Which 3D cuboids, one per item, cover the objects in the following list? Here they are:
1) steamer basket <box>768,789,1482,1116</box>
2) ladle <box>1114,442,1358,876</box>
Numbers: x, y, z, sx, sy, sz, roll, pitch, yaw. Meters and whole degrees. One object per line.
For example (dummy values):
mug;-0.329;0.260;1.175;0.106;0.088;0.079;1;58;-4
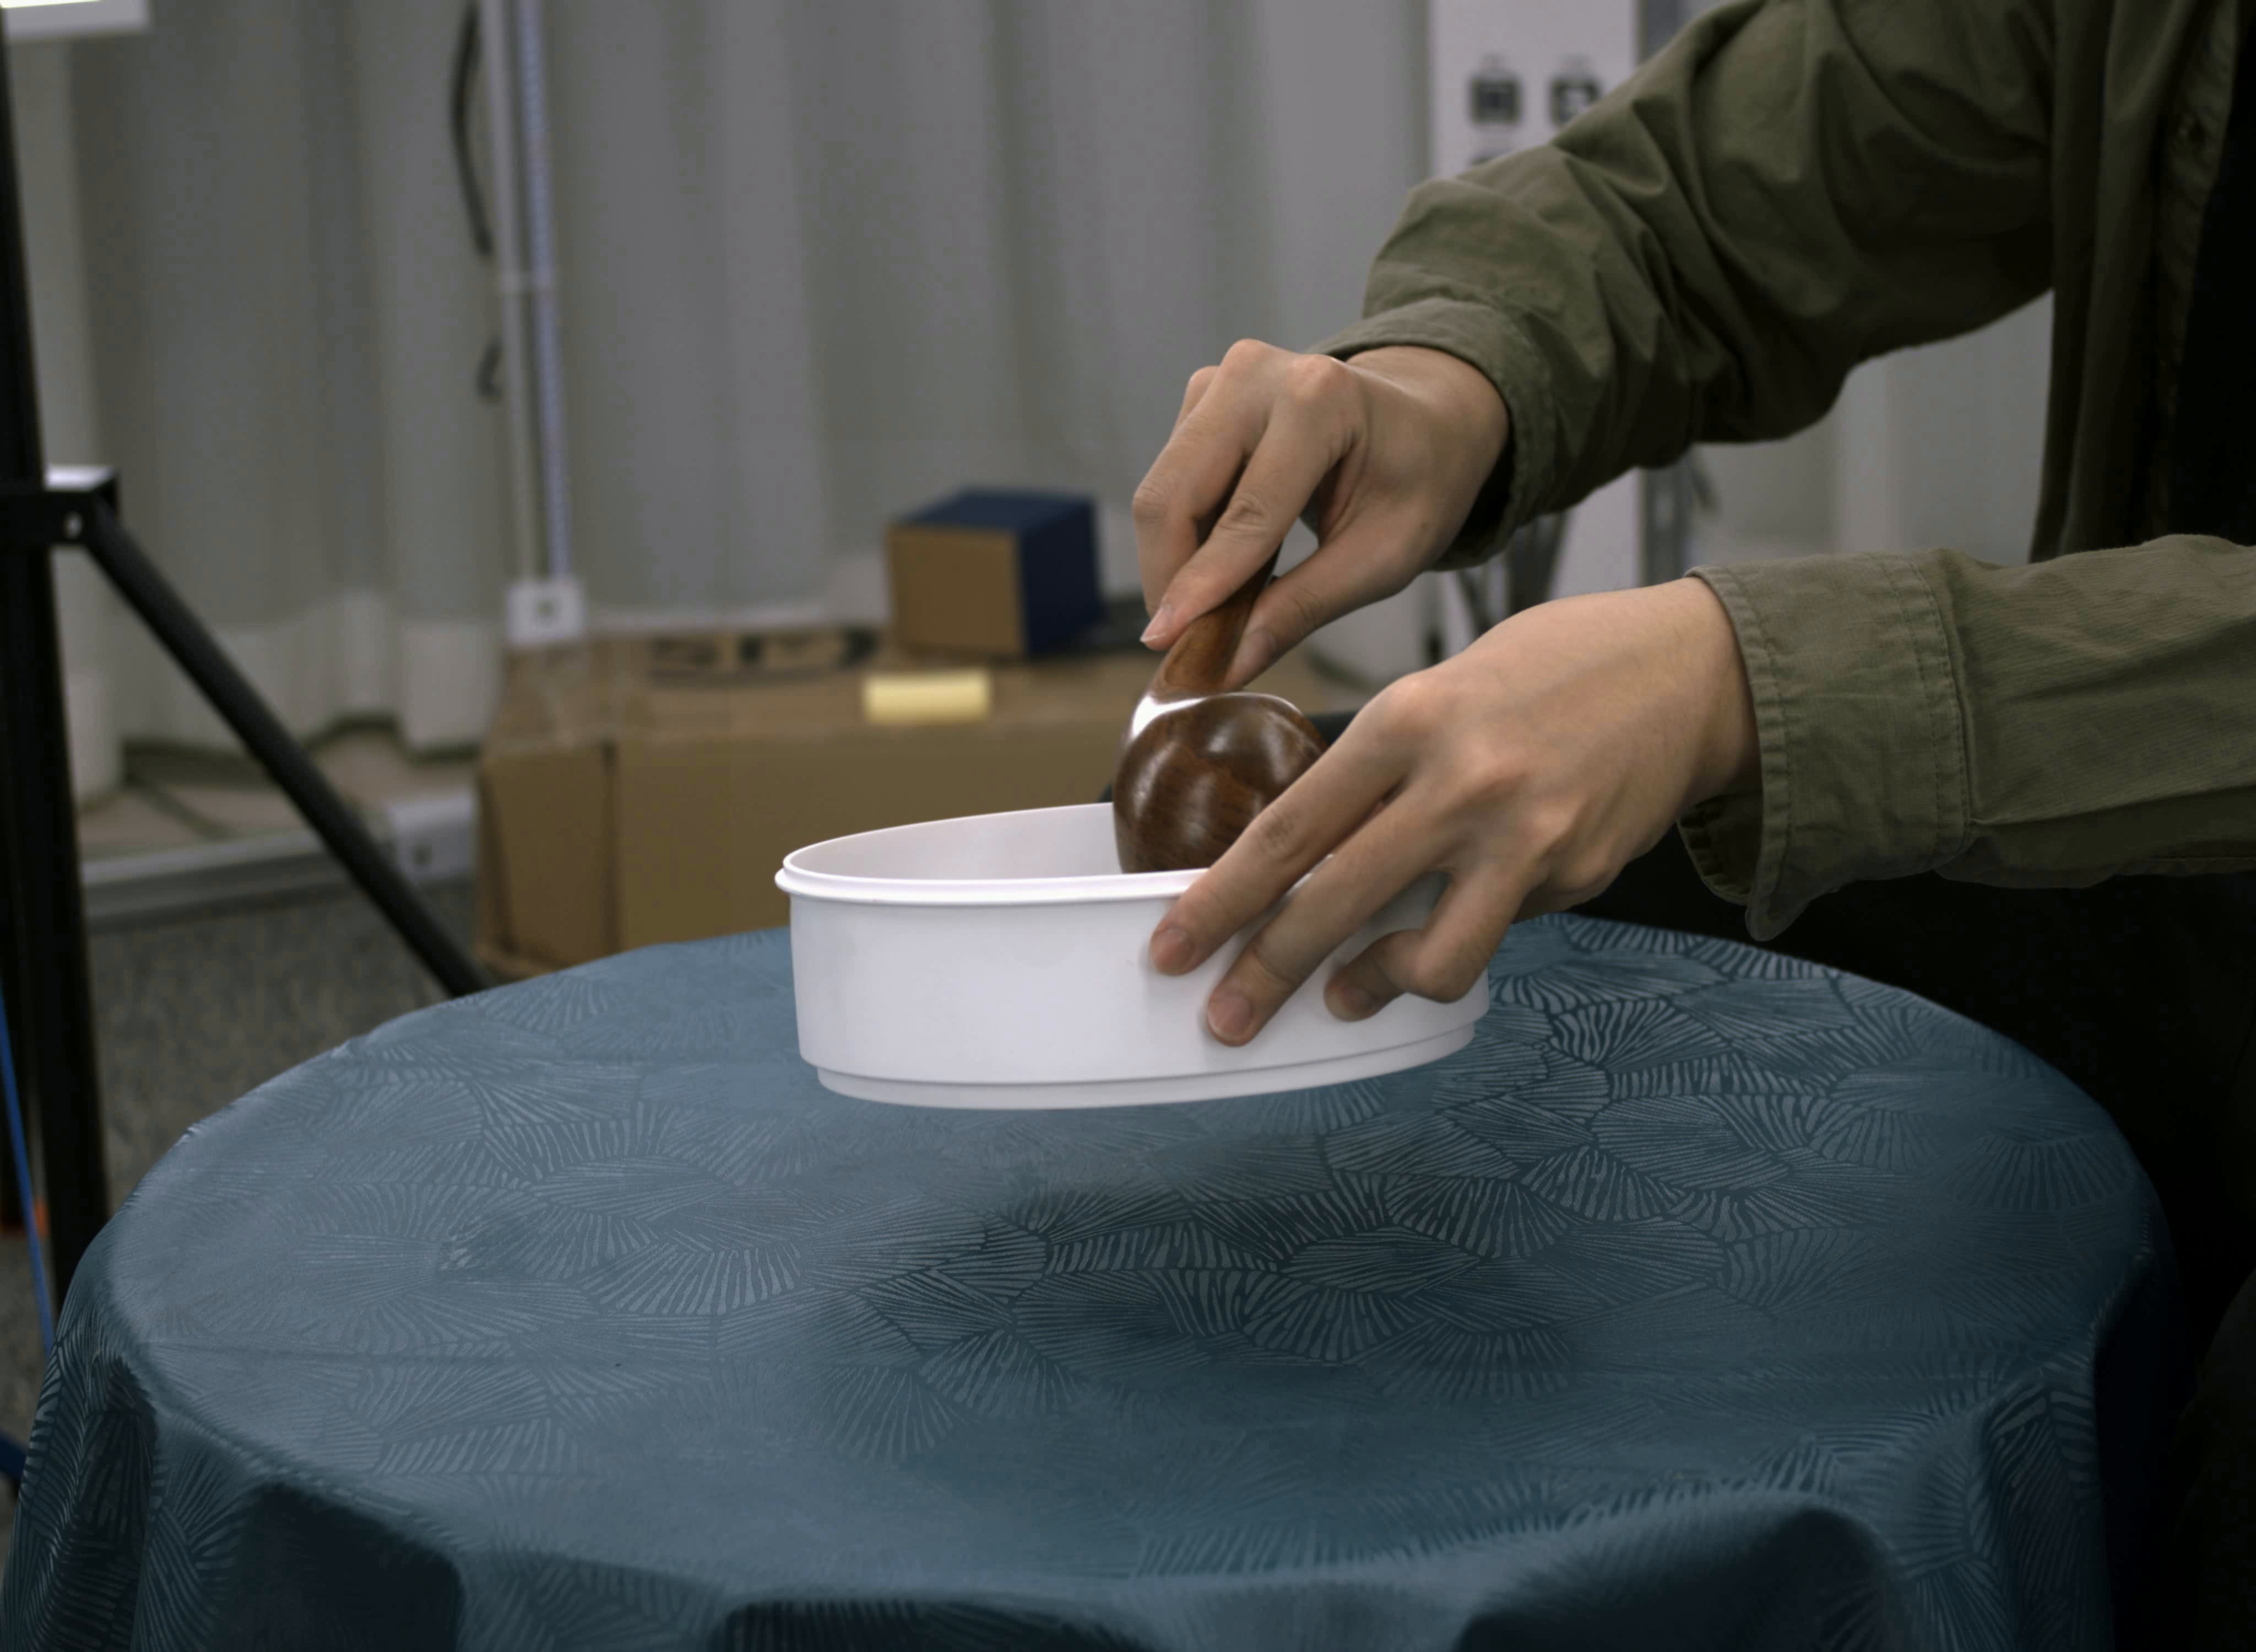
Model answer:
steamer basket;0.001;0.035;1.492;0.197;0.069;0.235;-9;8;-36
ladle;0.049;-0.045;1.577;0.076;0.082;0.273;29;27;-1
